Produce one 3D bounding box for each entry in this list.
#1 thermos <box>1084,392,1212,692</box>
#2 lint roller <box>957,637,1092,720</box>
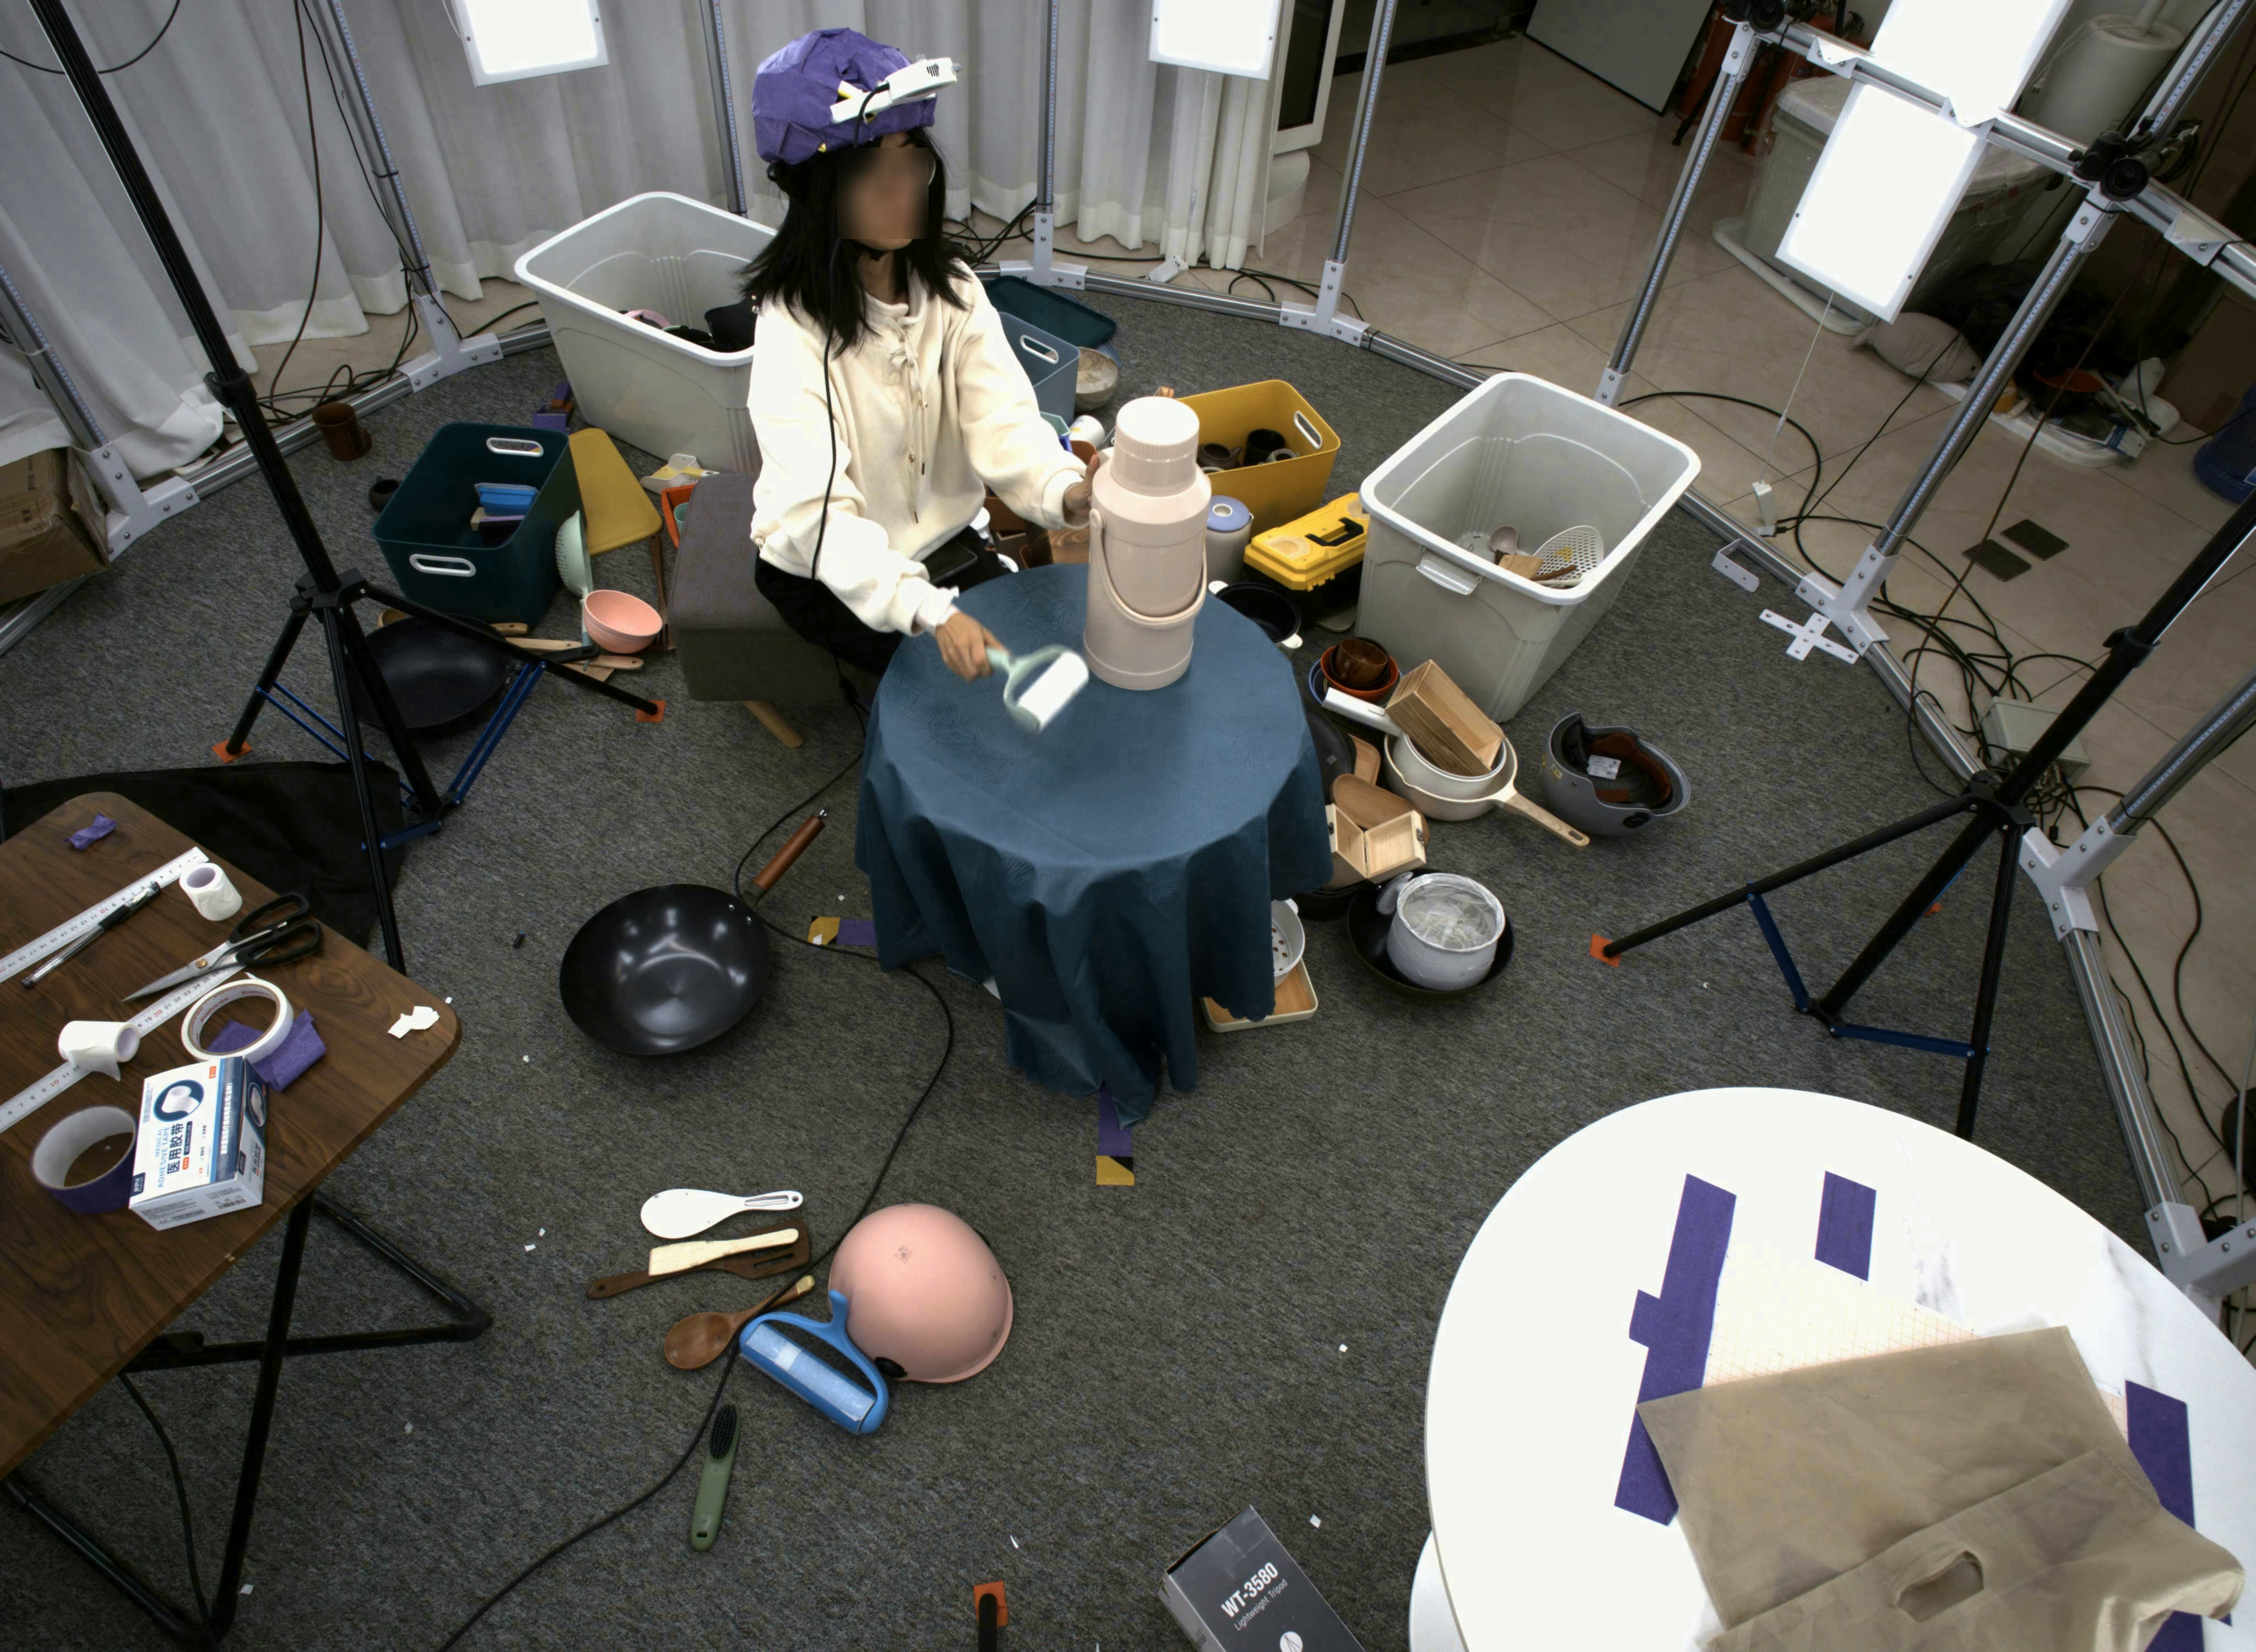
[{"bbox_3d":[0.019,-0.389,1.753,0.176,0.396,0.211,-23,55,-22],"label":"thermos"},{"bbox_3d":[-0.152,-0.219,1.704,0.200,0.047,0.118,28,64,28],"label":"lint roller"}]
